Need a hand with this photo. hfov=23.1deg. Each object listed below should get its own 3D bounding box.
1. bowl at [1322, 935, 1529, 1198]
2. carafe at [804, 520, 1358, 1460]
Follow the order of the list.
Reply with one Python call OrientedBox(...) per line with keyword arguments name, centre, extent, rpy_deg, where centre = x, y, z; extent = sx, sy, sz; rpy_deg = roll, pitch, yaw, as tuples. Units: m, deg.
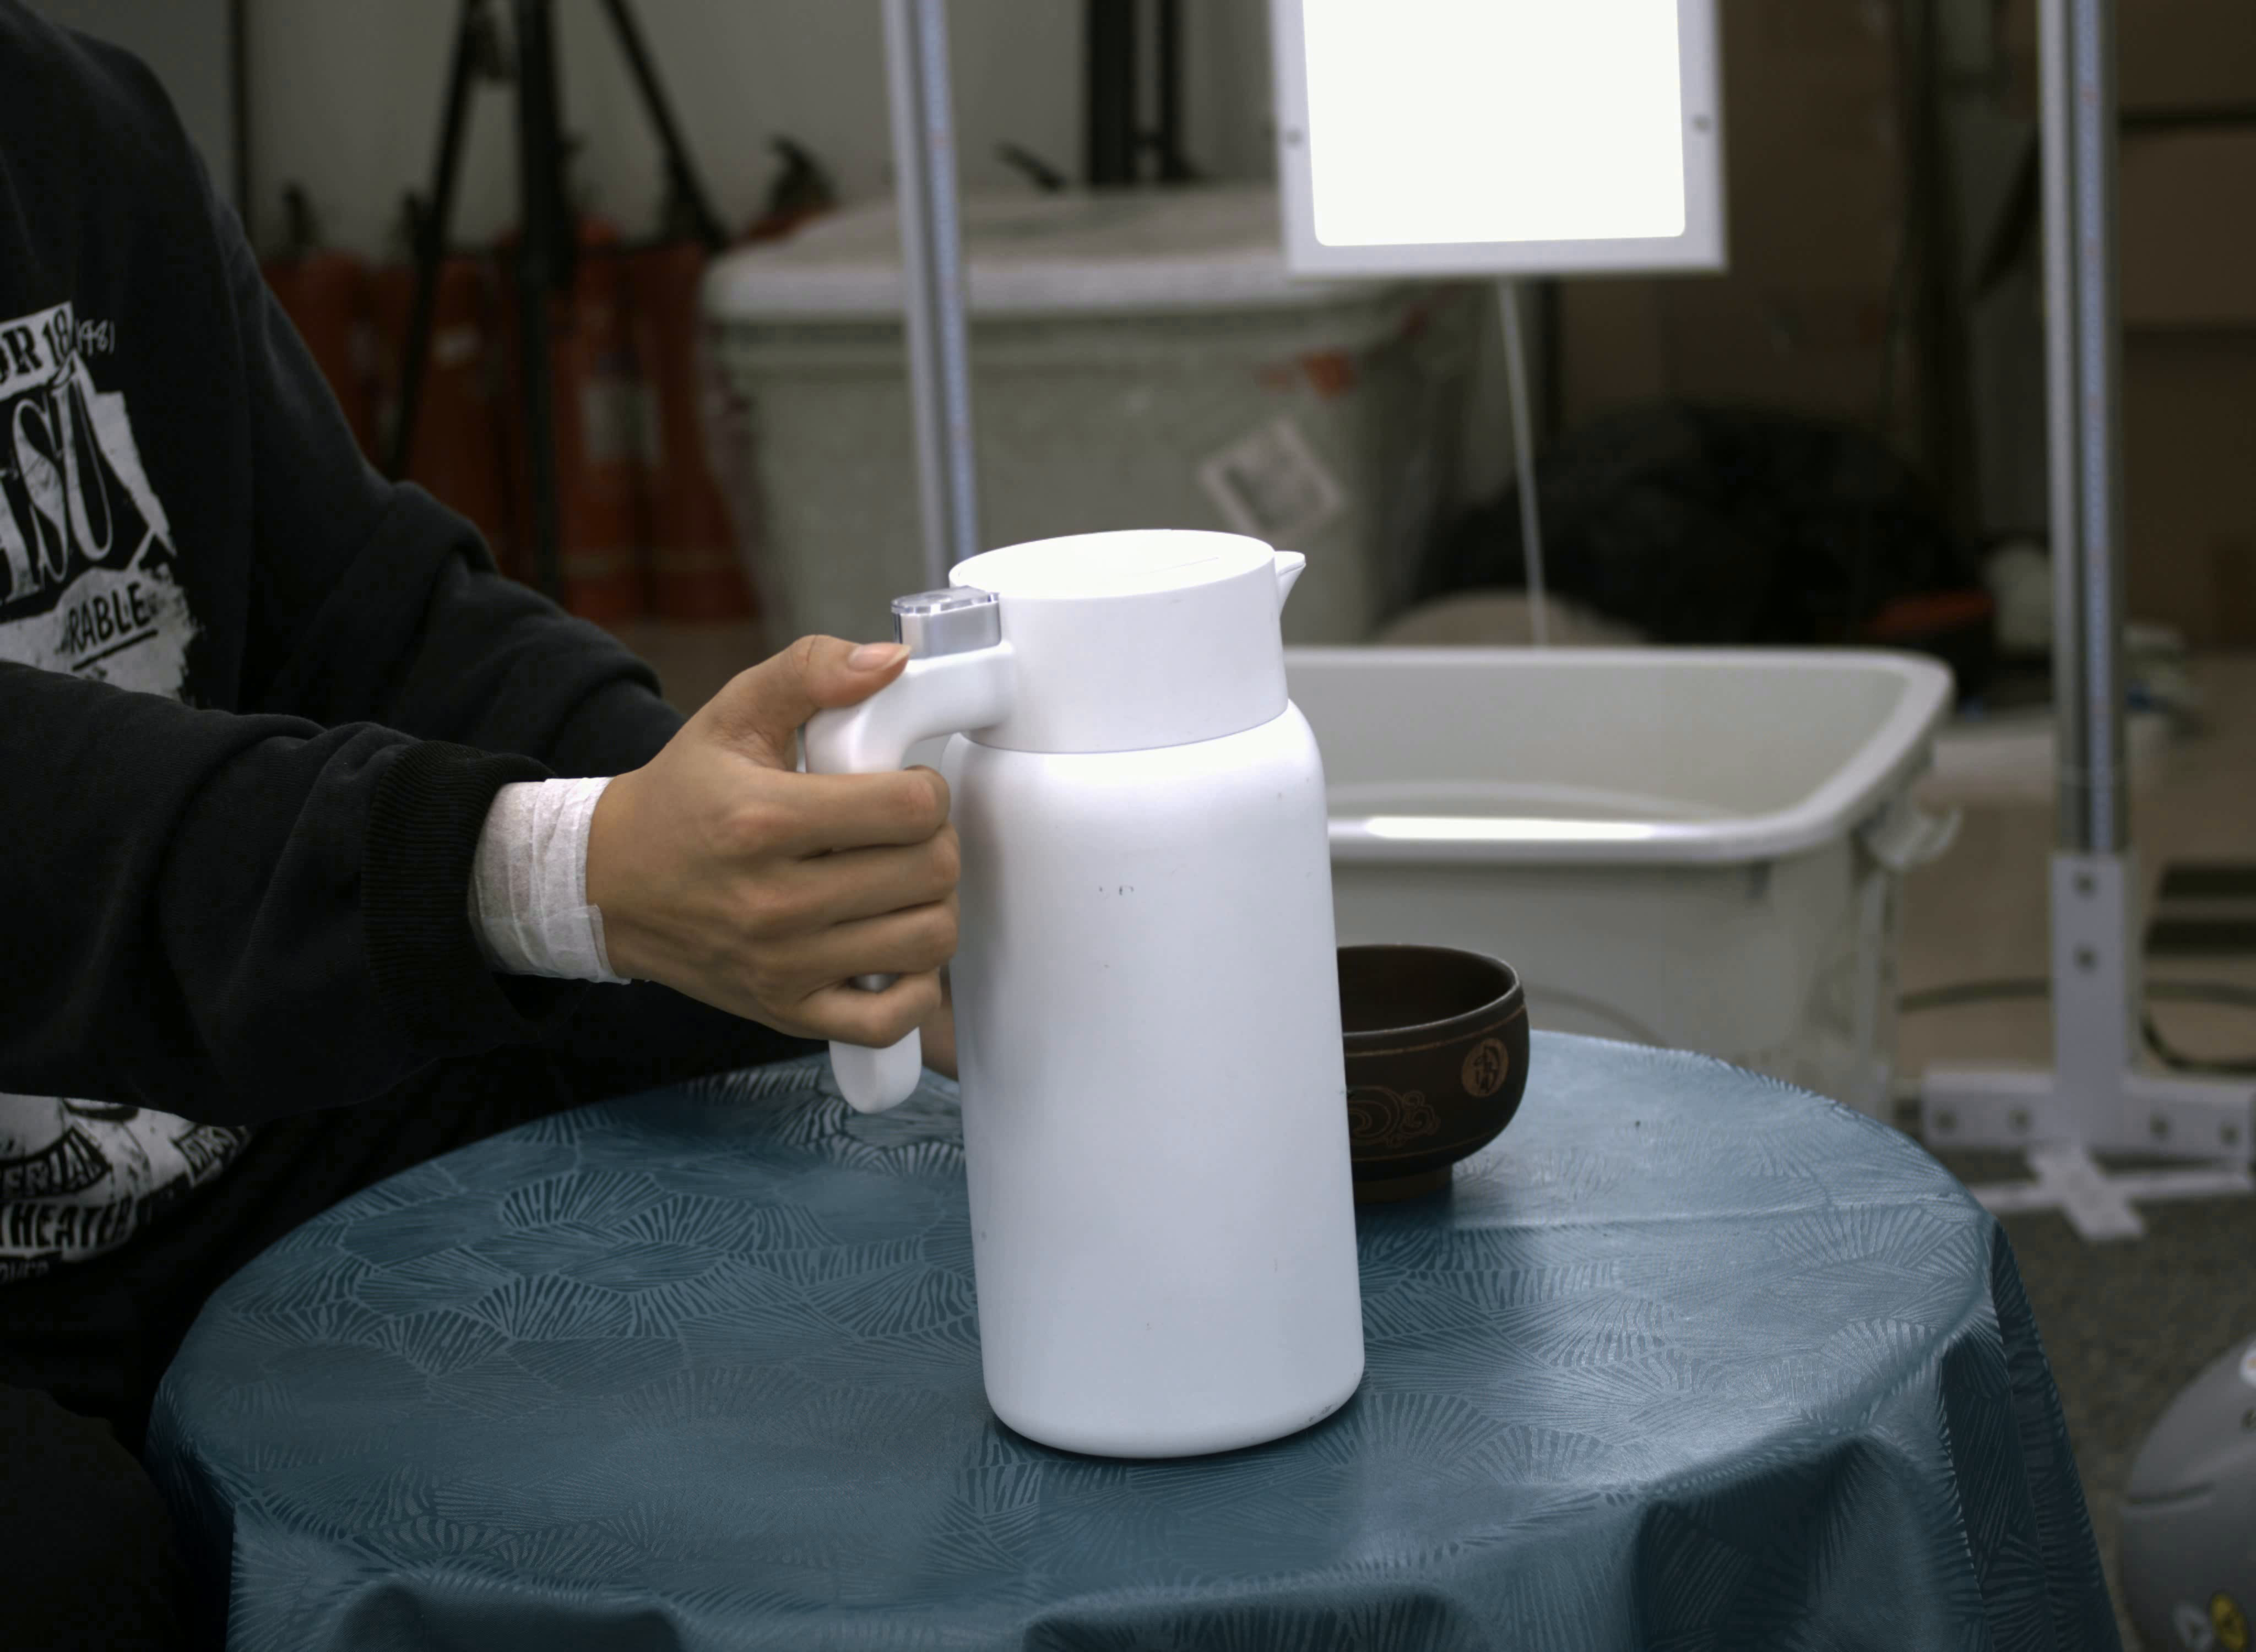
OrientedBox(name="bowl", centre=(0.080, 0.086, 1.880), extent=(0.118, 0.070, 0.118), rpy_deg=(-6, 14, 0))
OrientedBox(name="carafe", centre=(-0.009, 0.052, 1.646), extent=(0.169, 0.270, 0.126), rpy_deg=(-13, 18, -32))
